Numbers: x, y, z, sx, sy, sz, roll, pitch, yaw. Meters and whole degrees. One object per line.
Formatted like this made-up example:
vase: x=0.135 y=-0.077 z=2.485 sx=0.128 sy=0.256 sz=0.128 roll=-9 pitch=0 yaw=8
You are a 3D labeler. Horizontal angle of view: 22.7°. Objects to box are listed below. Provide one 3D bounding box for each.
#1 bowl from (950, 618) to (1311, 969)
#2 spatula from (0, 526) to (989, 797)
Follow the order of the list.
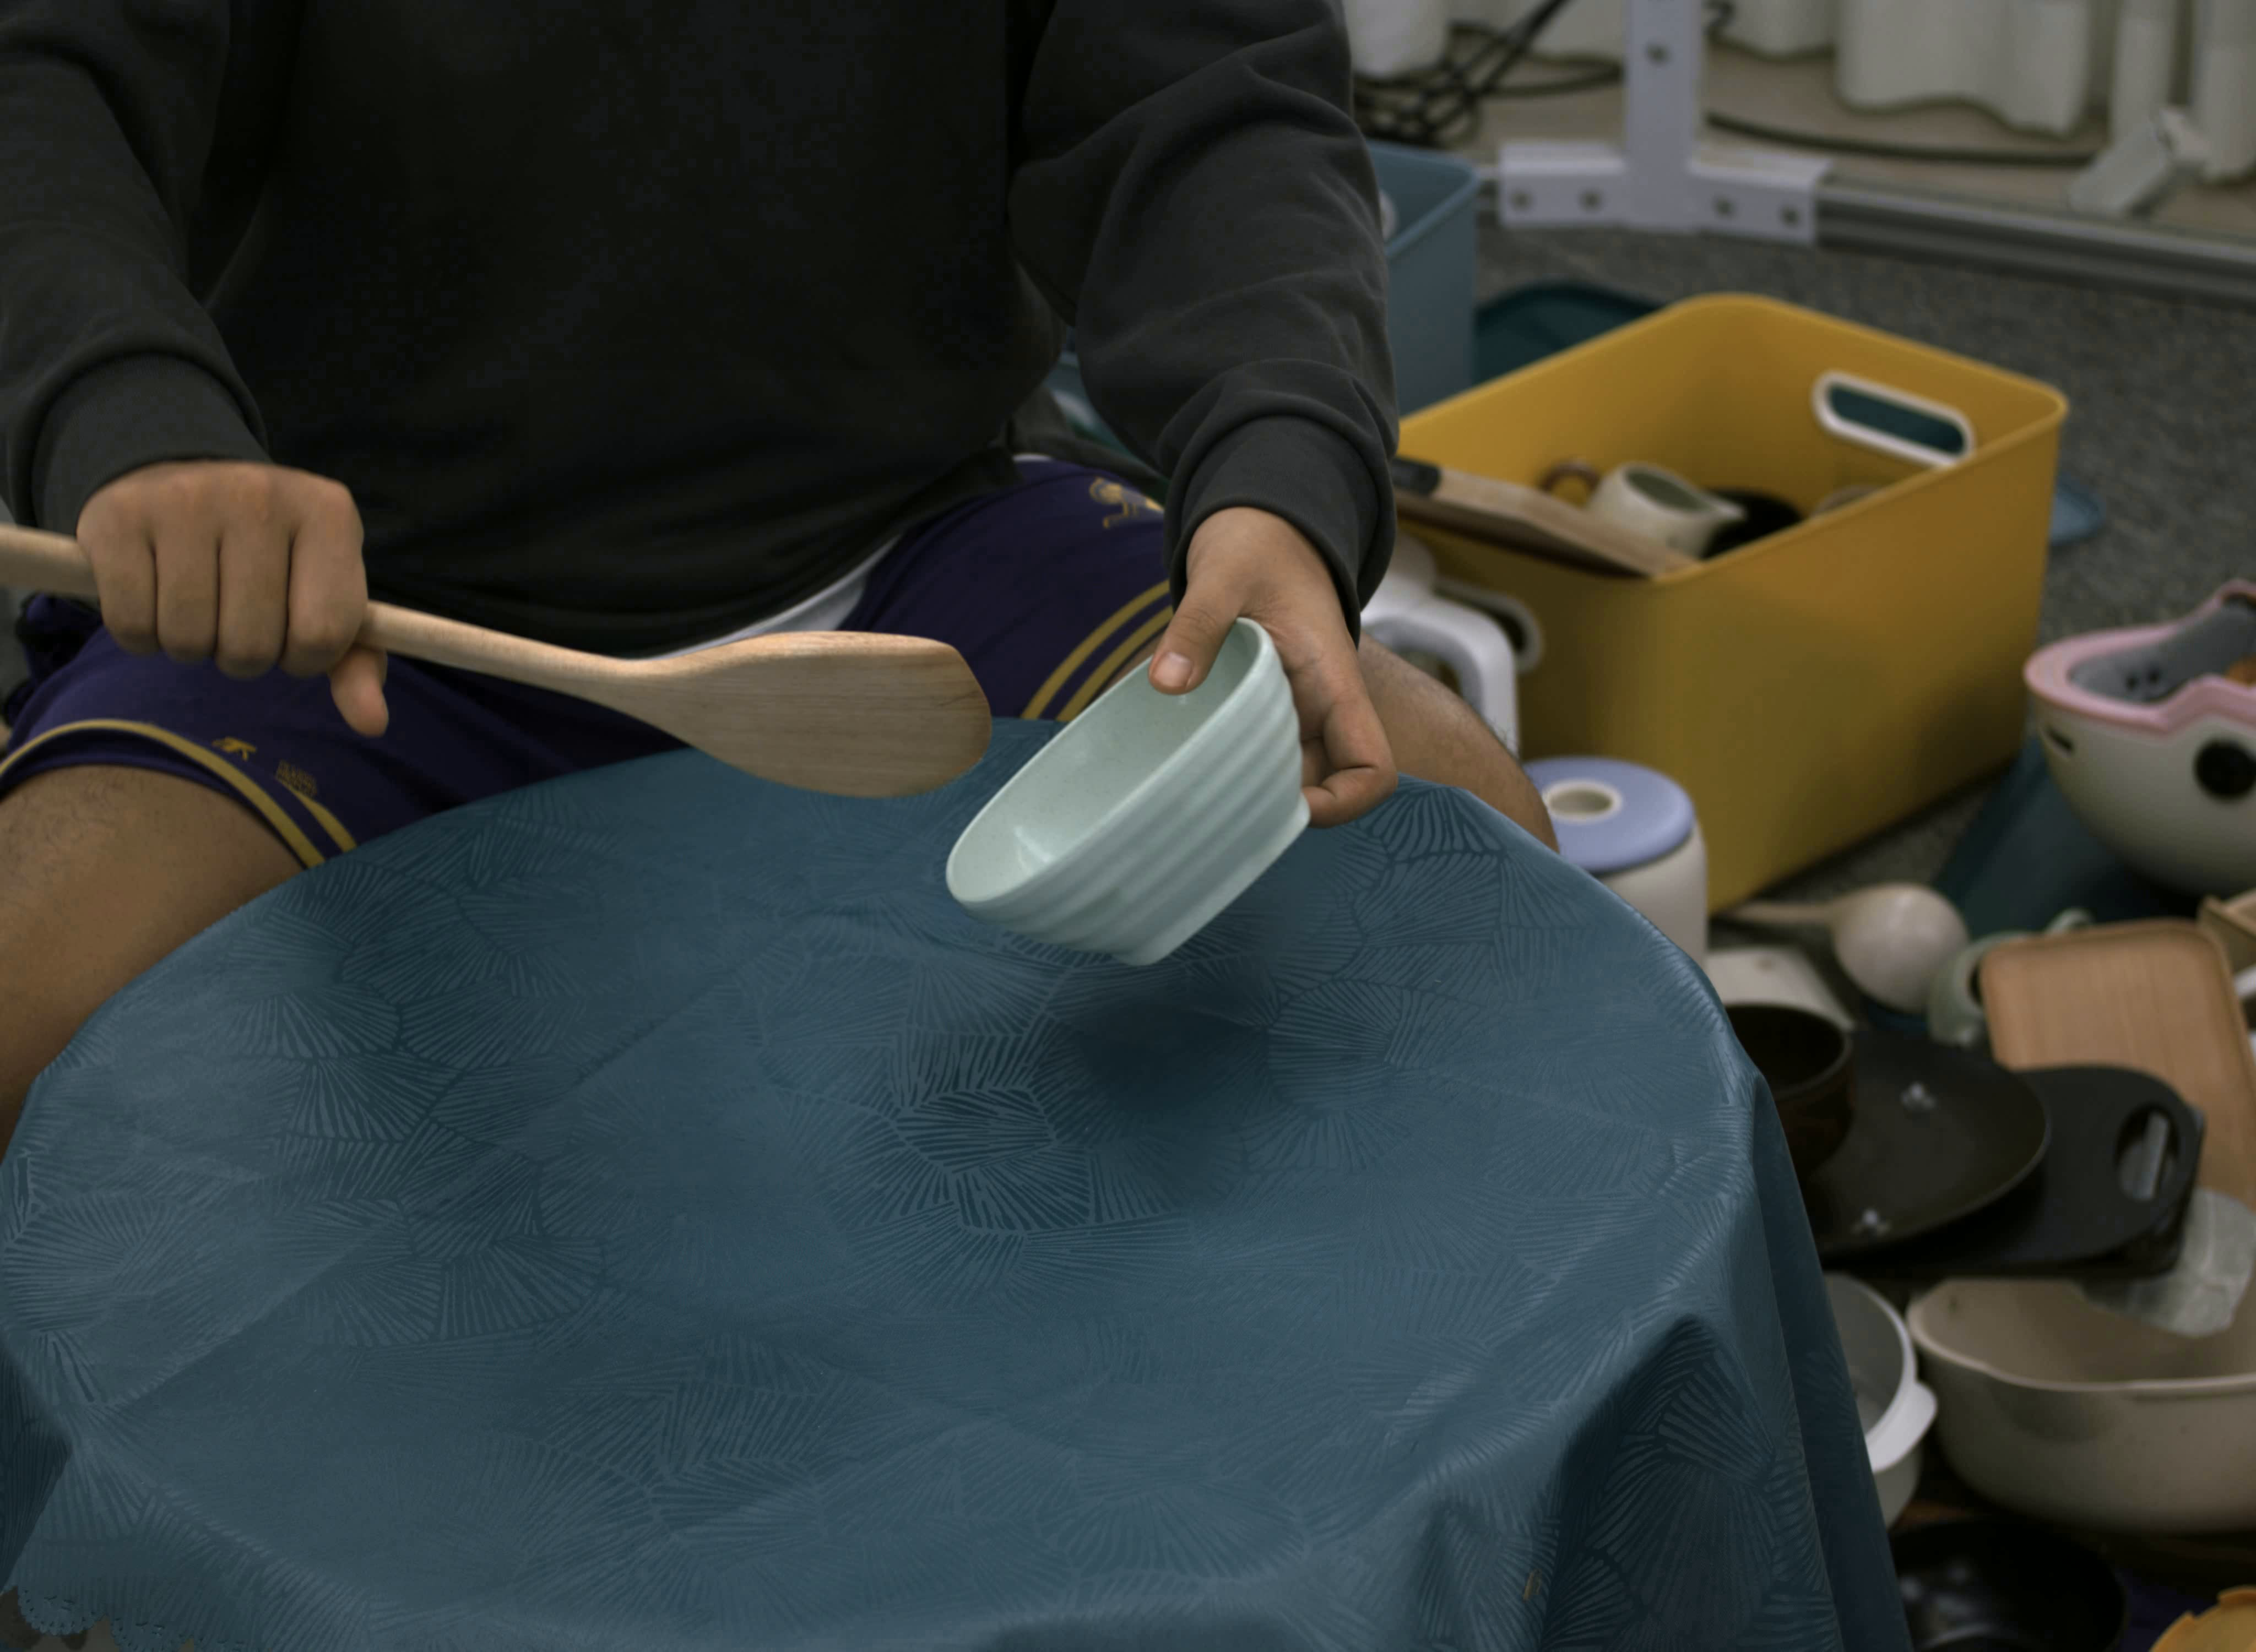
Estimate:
bowl: x=0.010 y=-0.002 z=1.913 sx=0.150 sy=0.058 sz=0.153 roll=-39 pitch=14 yaw=11
spatula: x=-0.235 y=-0.064 z=1.780 sx=0.389 sy=0.094 sz=0.019 roll=11 pitch=56 yaw=5
